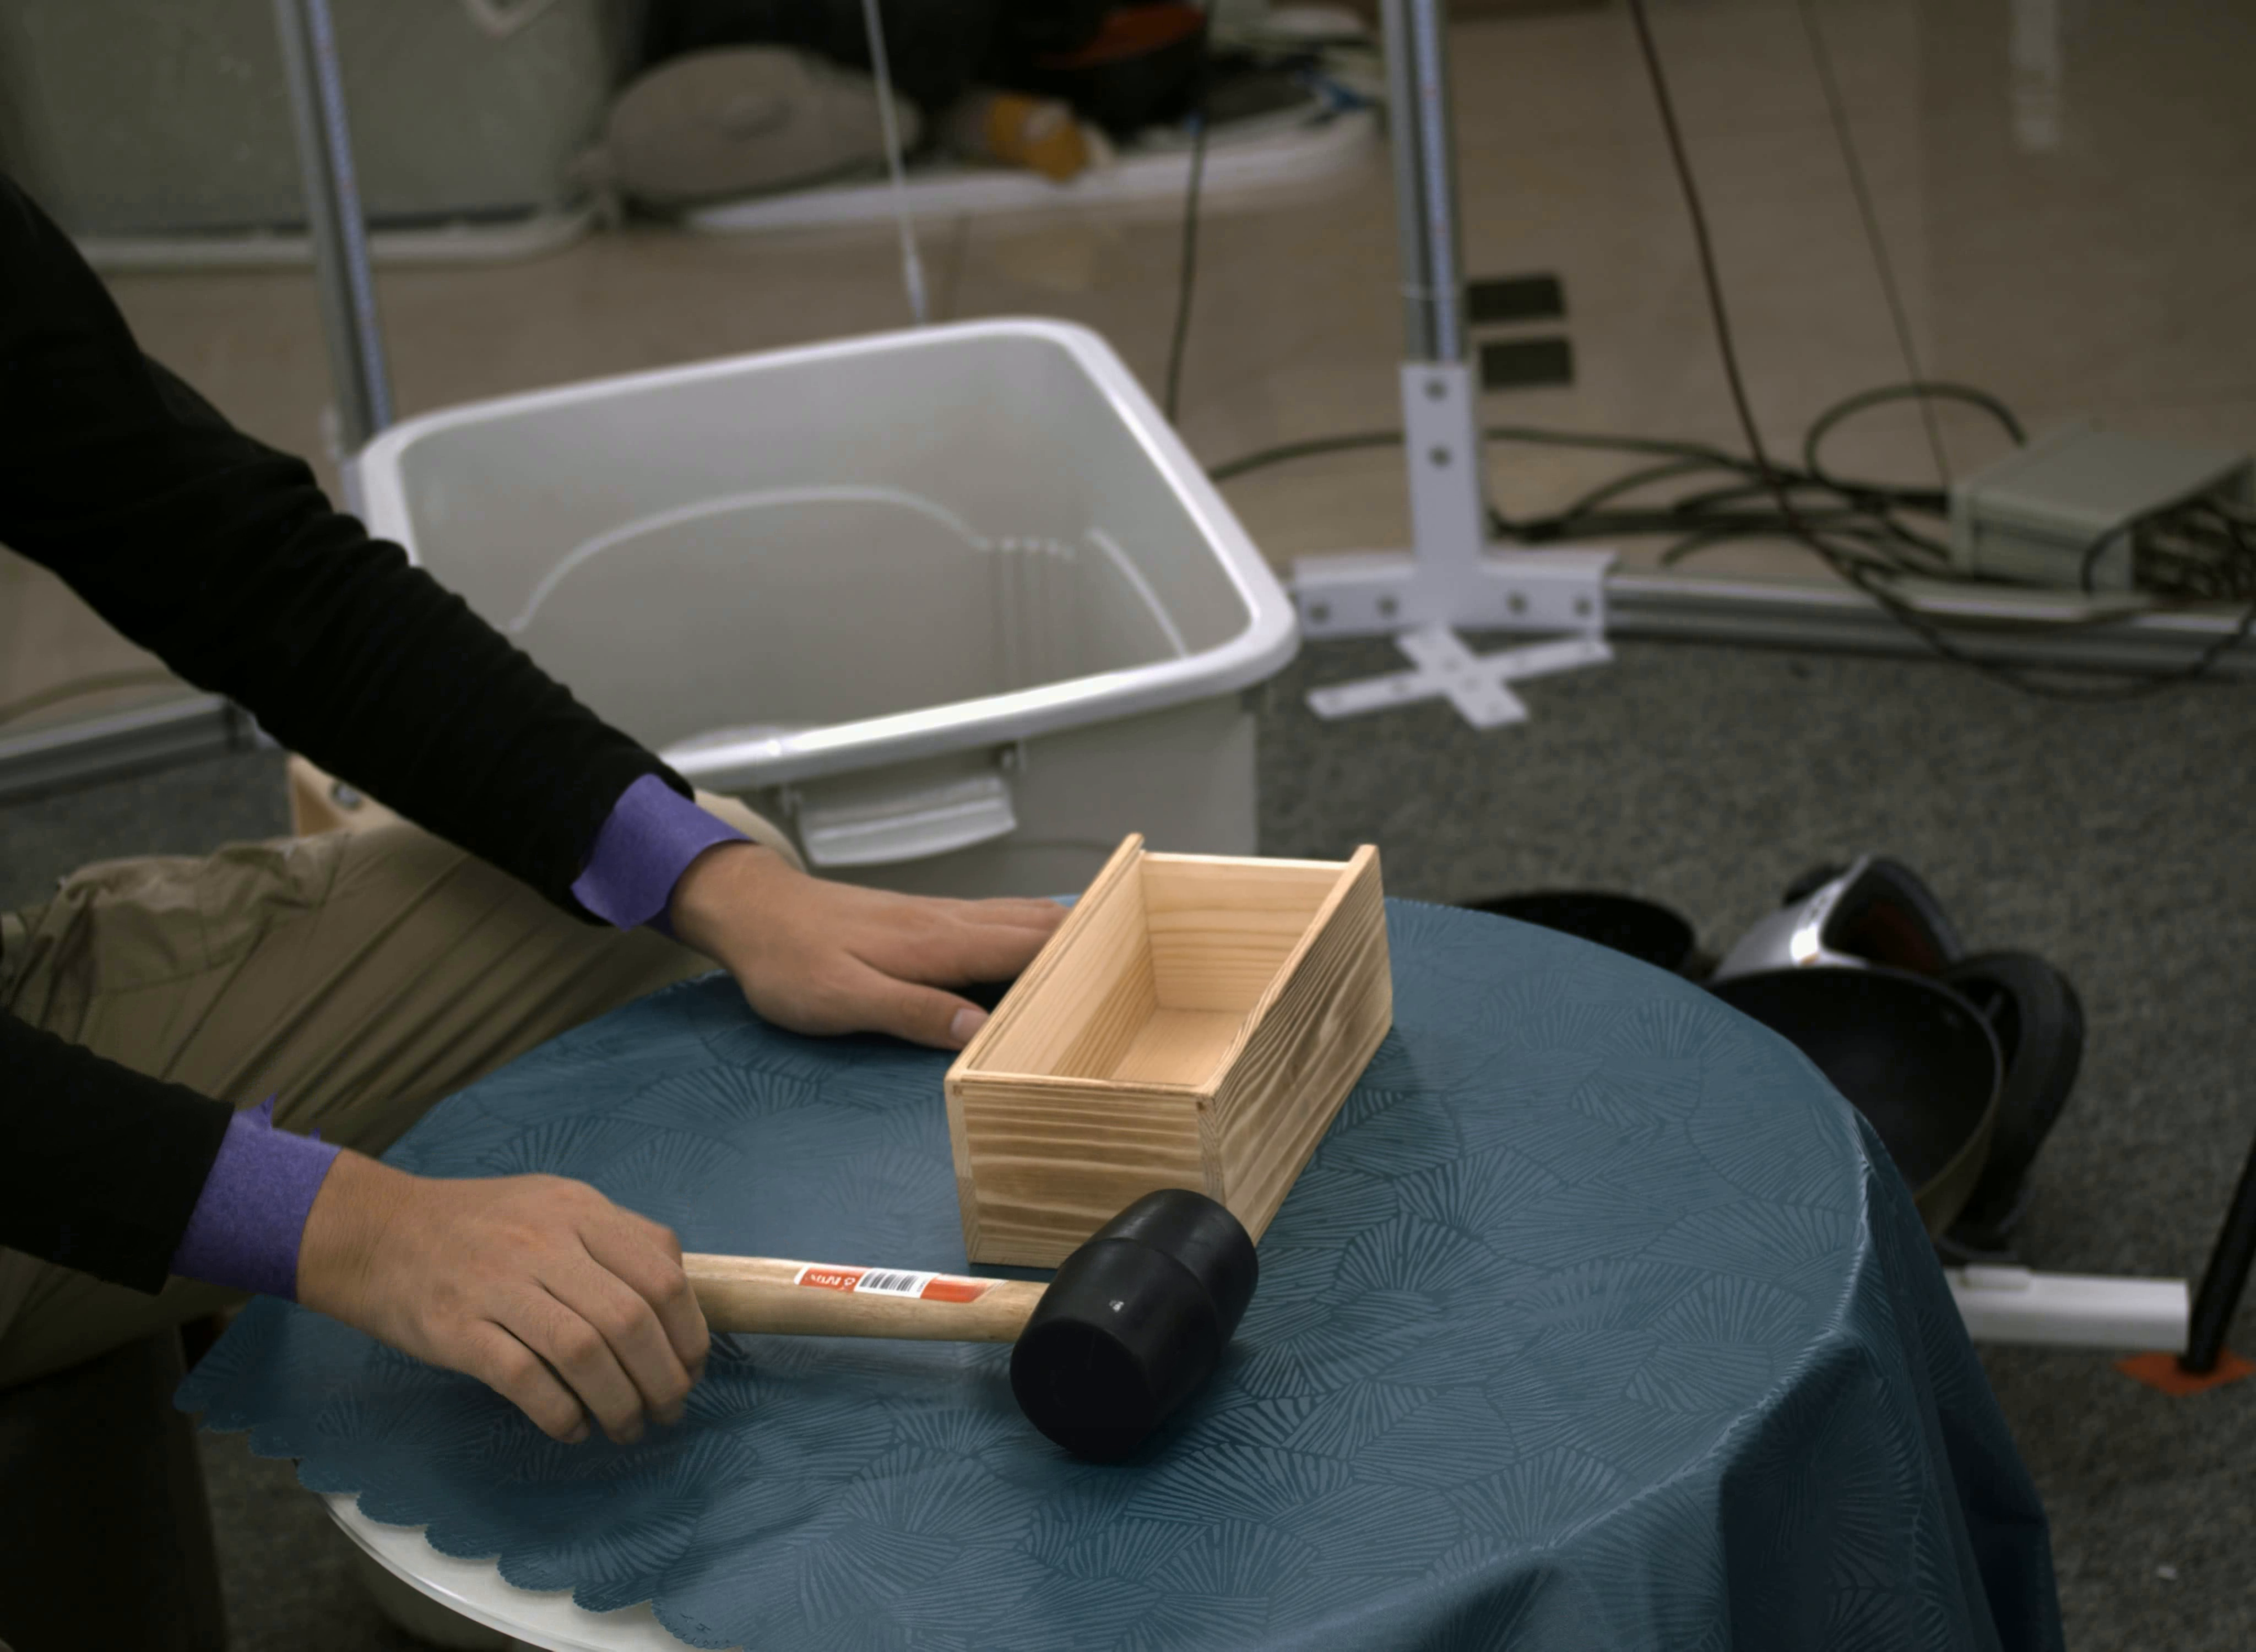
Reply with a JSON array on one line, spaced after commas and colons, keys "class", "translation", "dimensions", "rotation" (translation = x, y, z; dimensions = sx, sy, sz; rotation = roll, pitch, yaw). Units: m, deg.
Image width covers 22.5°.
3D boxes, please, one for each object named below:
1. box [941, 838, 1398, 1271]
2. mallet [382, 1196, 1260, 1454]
[{"class": "box", "translation": [0.019, 0.086, 2.164], "dimensions": [0.107, 0.081, 0.208], "rotation": [3, 27, 20]}, {"class": "mallet", "translation": [-0.122, 0.164, 2.054], "dimensions": [0.338, 0.065, 0.101], "rotation": [5, 23, 25]}]
